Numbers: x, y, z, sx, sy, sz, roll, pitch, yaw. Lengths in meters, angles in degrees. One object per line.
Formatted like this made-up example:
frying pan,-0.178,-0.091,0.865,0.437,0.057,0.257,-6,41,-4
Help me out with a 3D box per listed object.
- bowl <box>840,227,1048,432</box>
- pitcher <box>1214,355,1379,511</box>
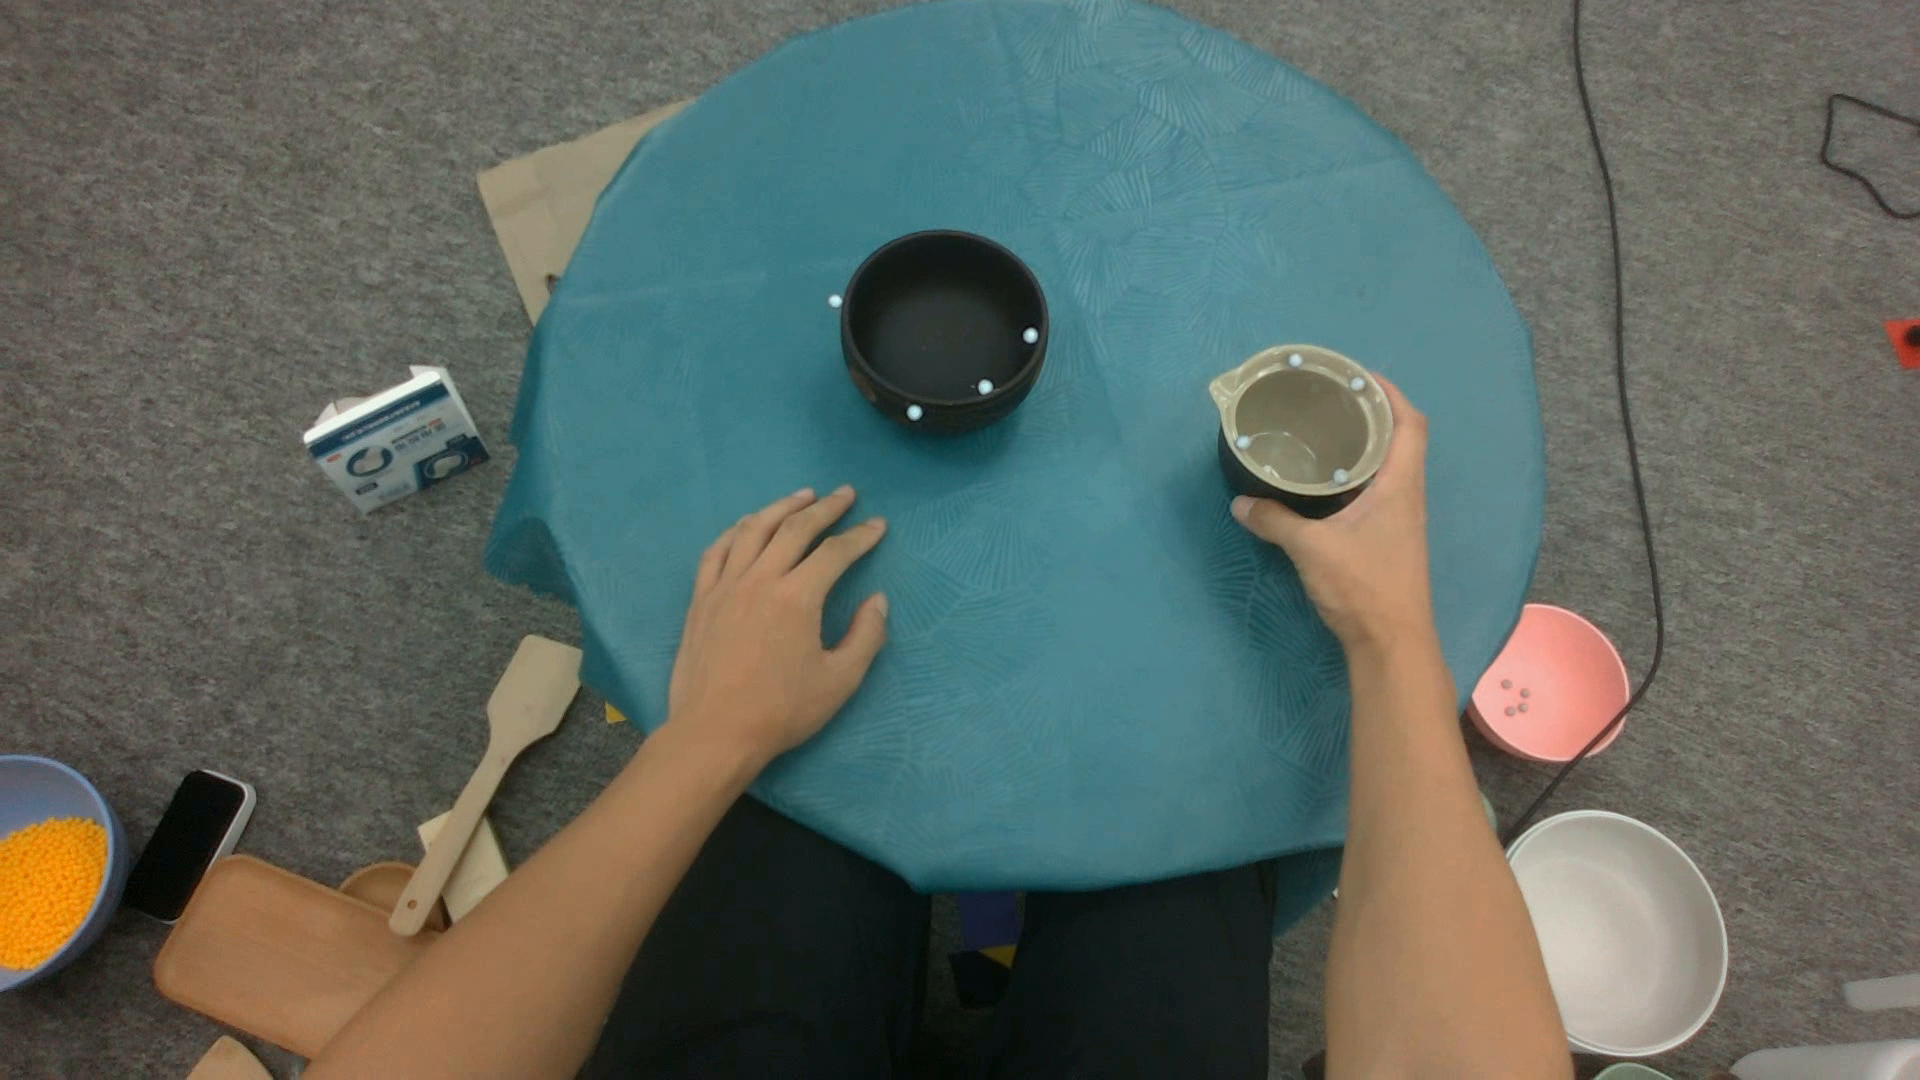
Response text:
bowl,-0.010,-0.115,0.798,0.118,0.069,0.118,2,66,-3
pitcher,0.181,-0.058,0.781,0.096,0.071,0.084,30,70,9
